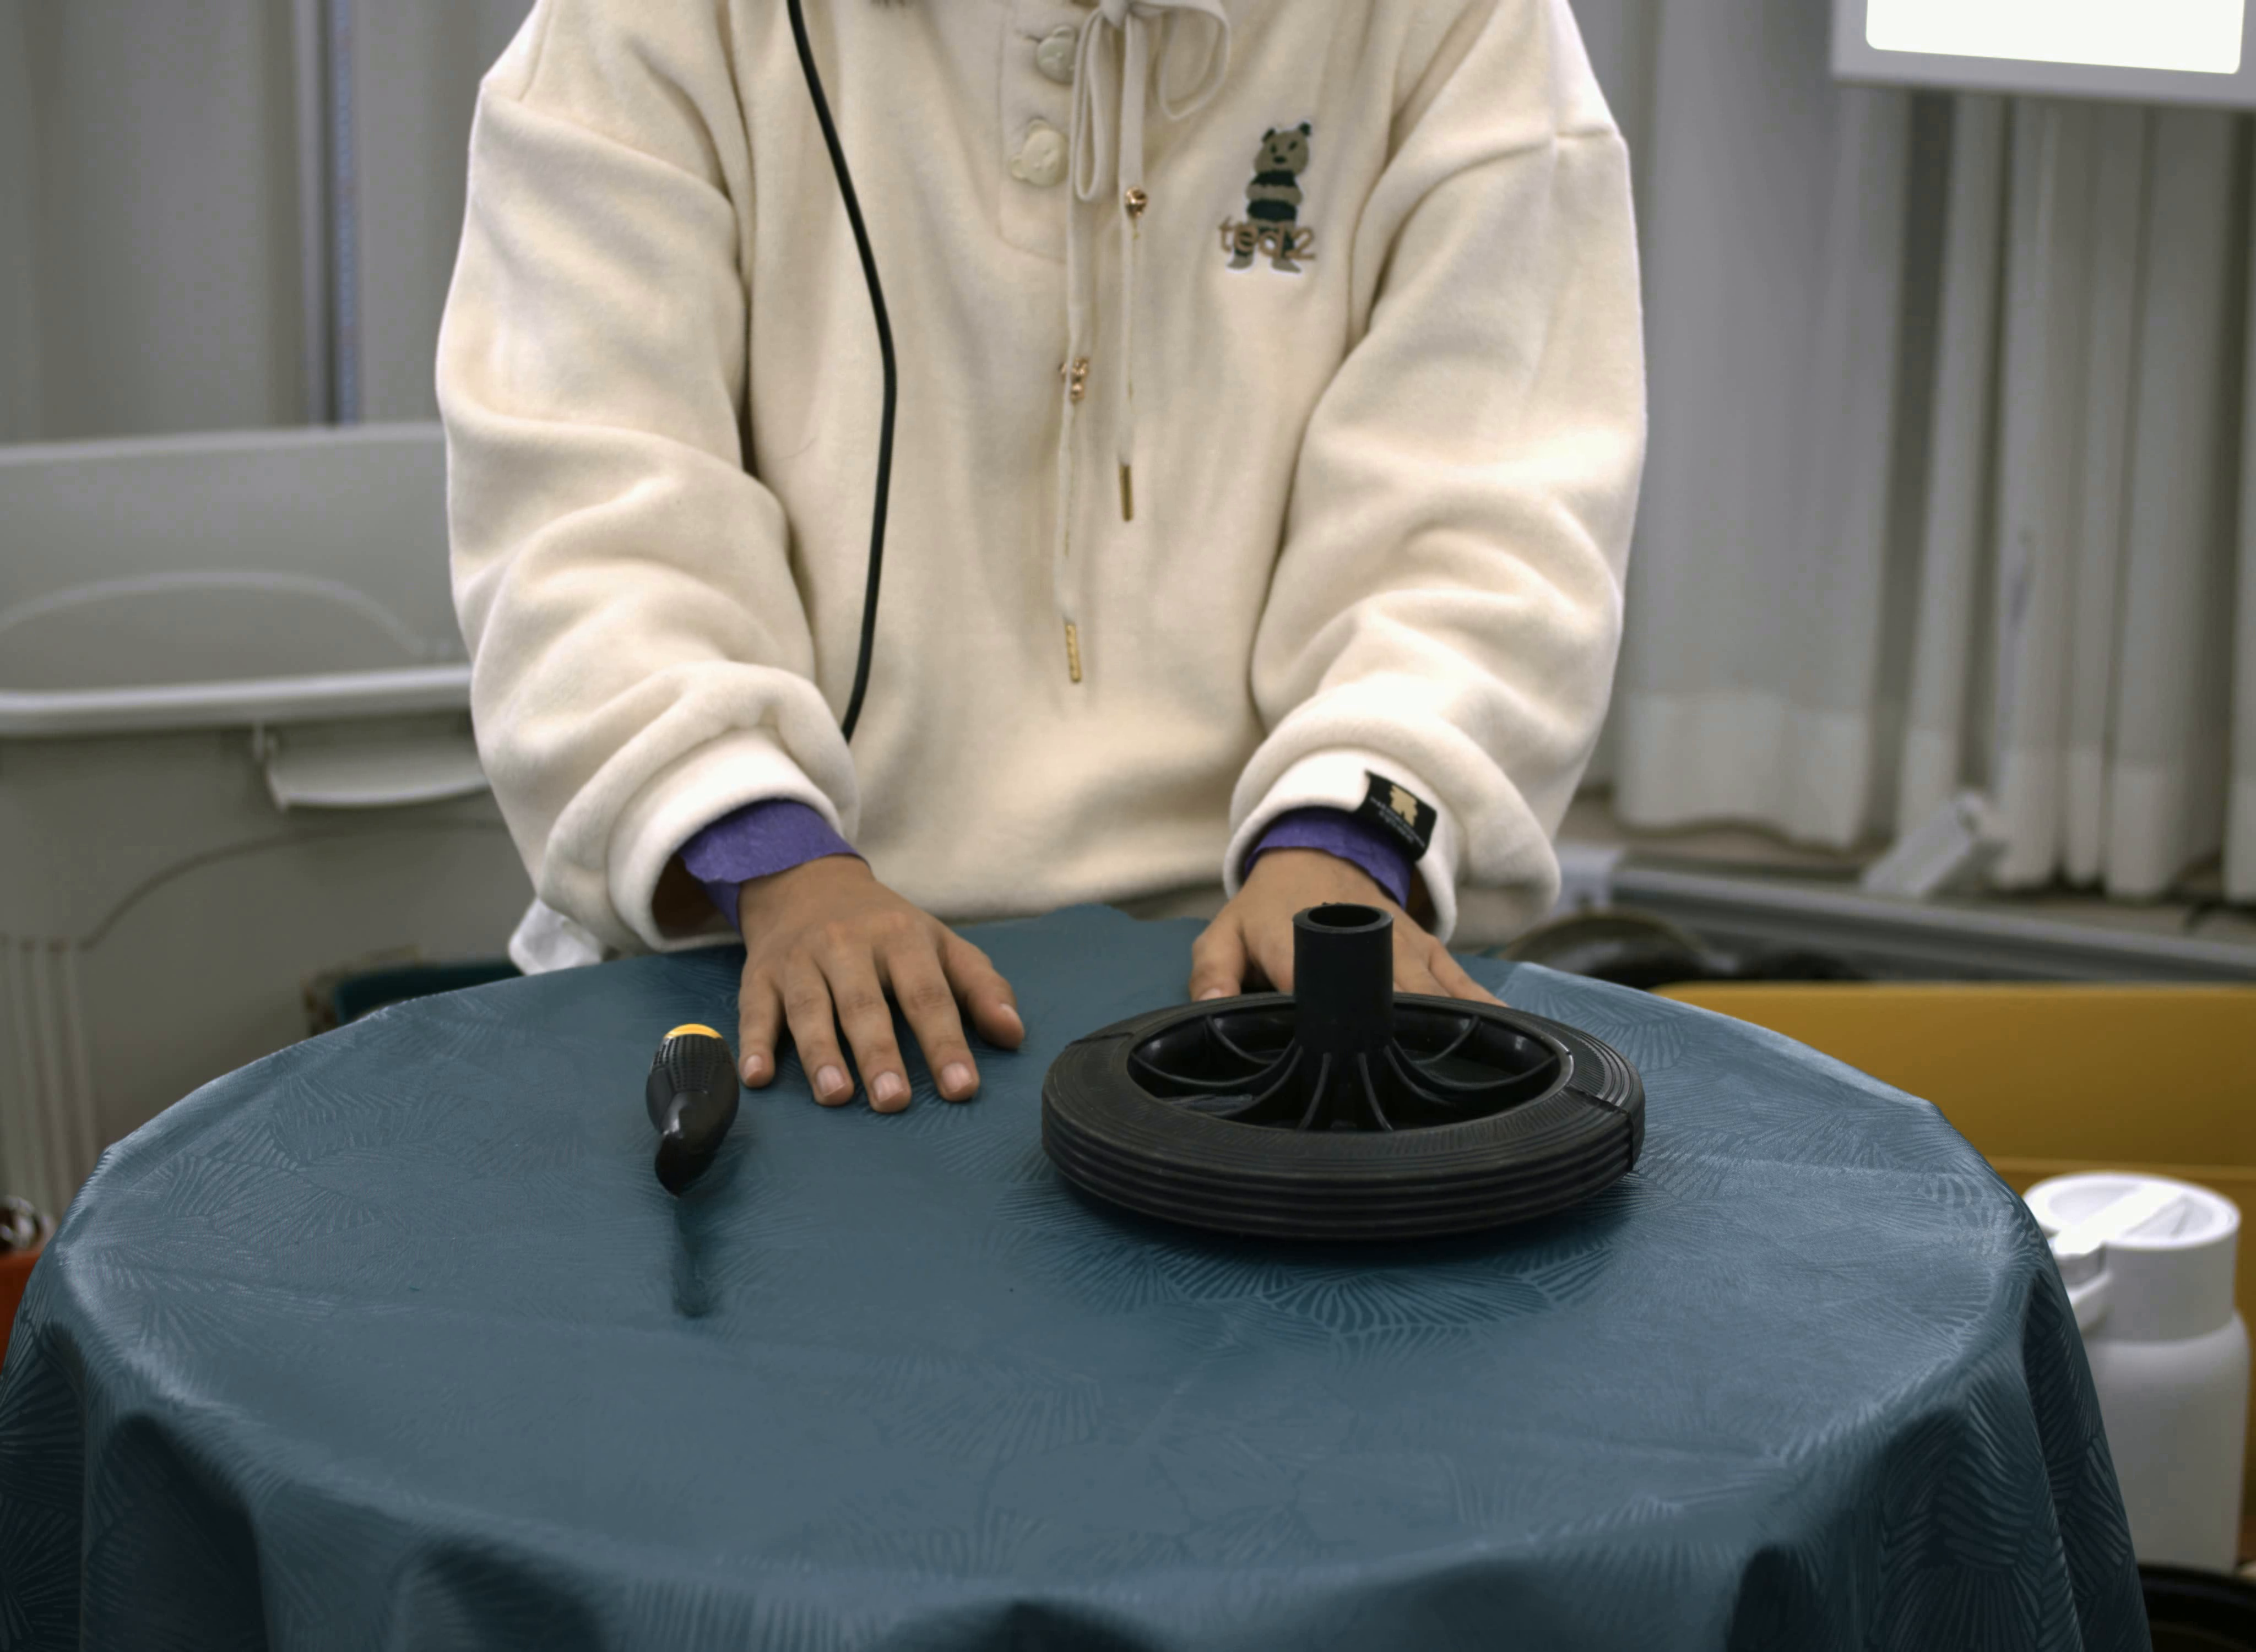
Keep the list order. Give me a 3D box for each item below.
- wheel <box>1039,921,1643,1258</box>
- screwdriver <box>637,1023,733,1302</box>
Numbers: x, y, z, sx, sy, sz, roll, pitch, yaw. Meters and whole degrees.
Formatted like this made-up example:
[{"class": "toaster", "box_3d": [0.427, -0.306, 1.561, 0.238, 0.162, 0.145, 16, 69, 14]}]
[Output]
[{"class": "wheel", "box_3d": [0.065, 0.072, 1.631, 0.190, 0.080, 0.185, -12, 20, -30]}, {"class": "screwdriver", "box_3d": [-0.138, 0.104, 1.603, 0.031, 0.032, 0.196, 0, 18, -2]}]
